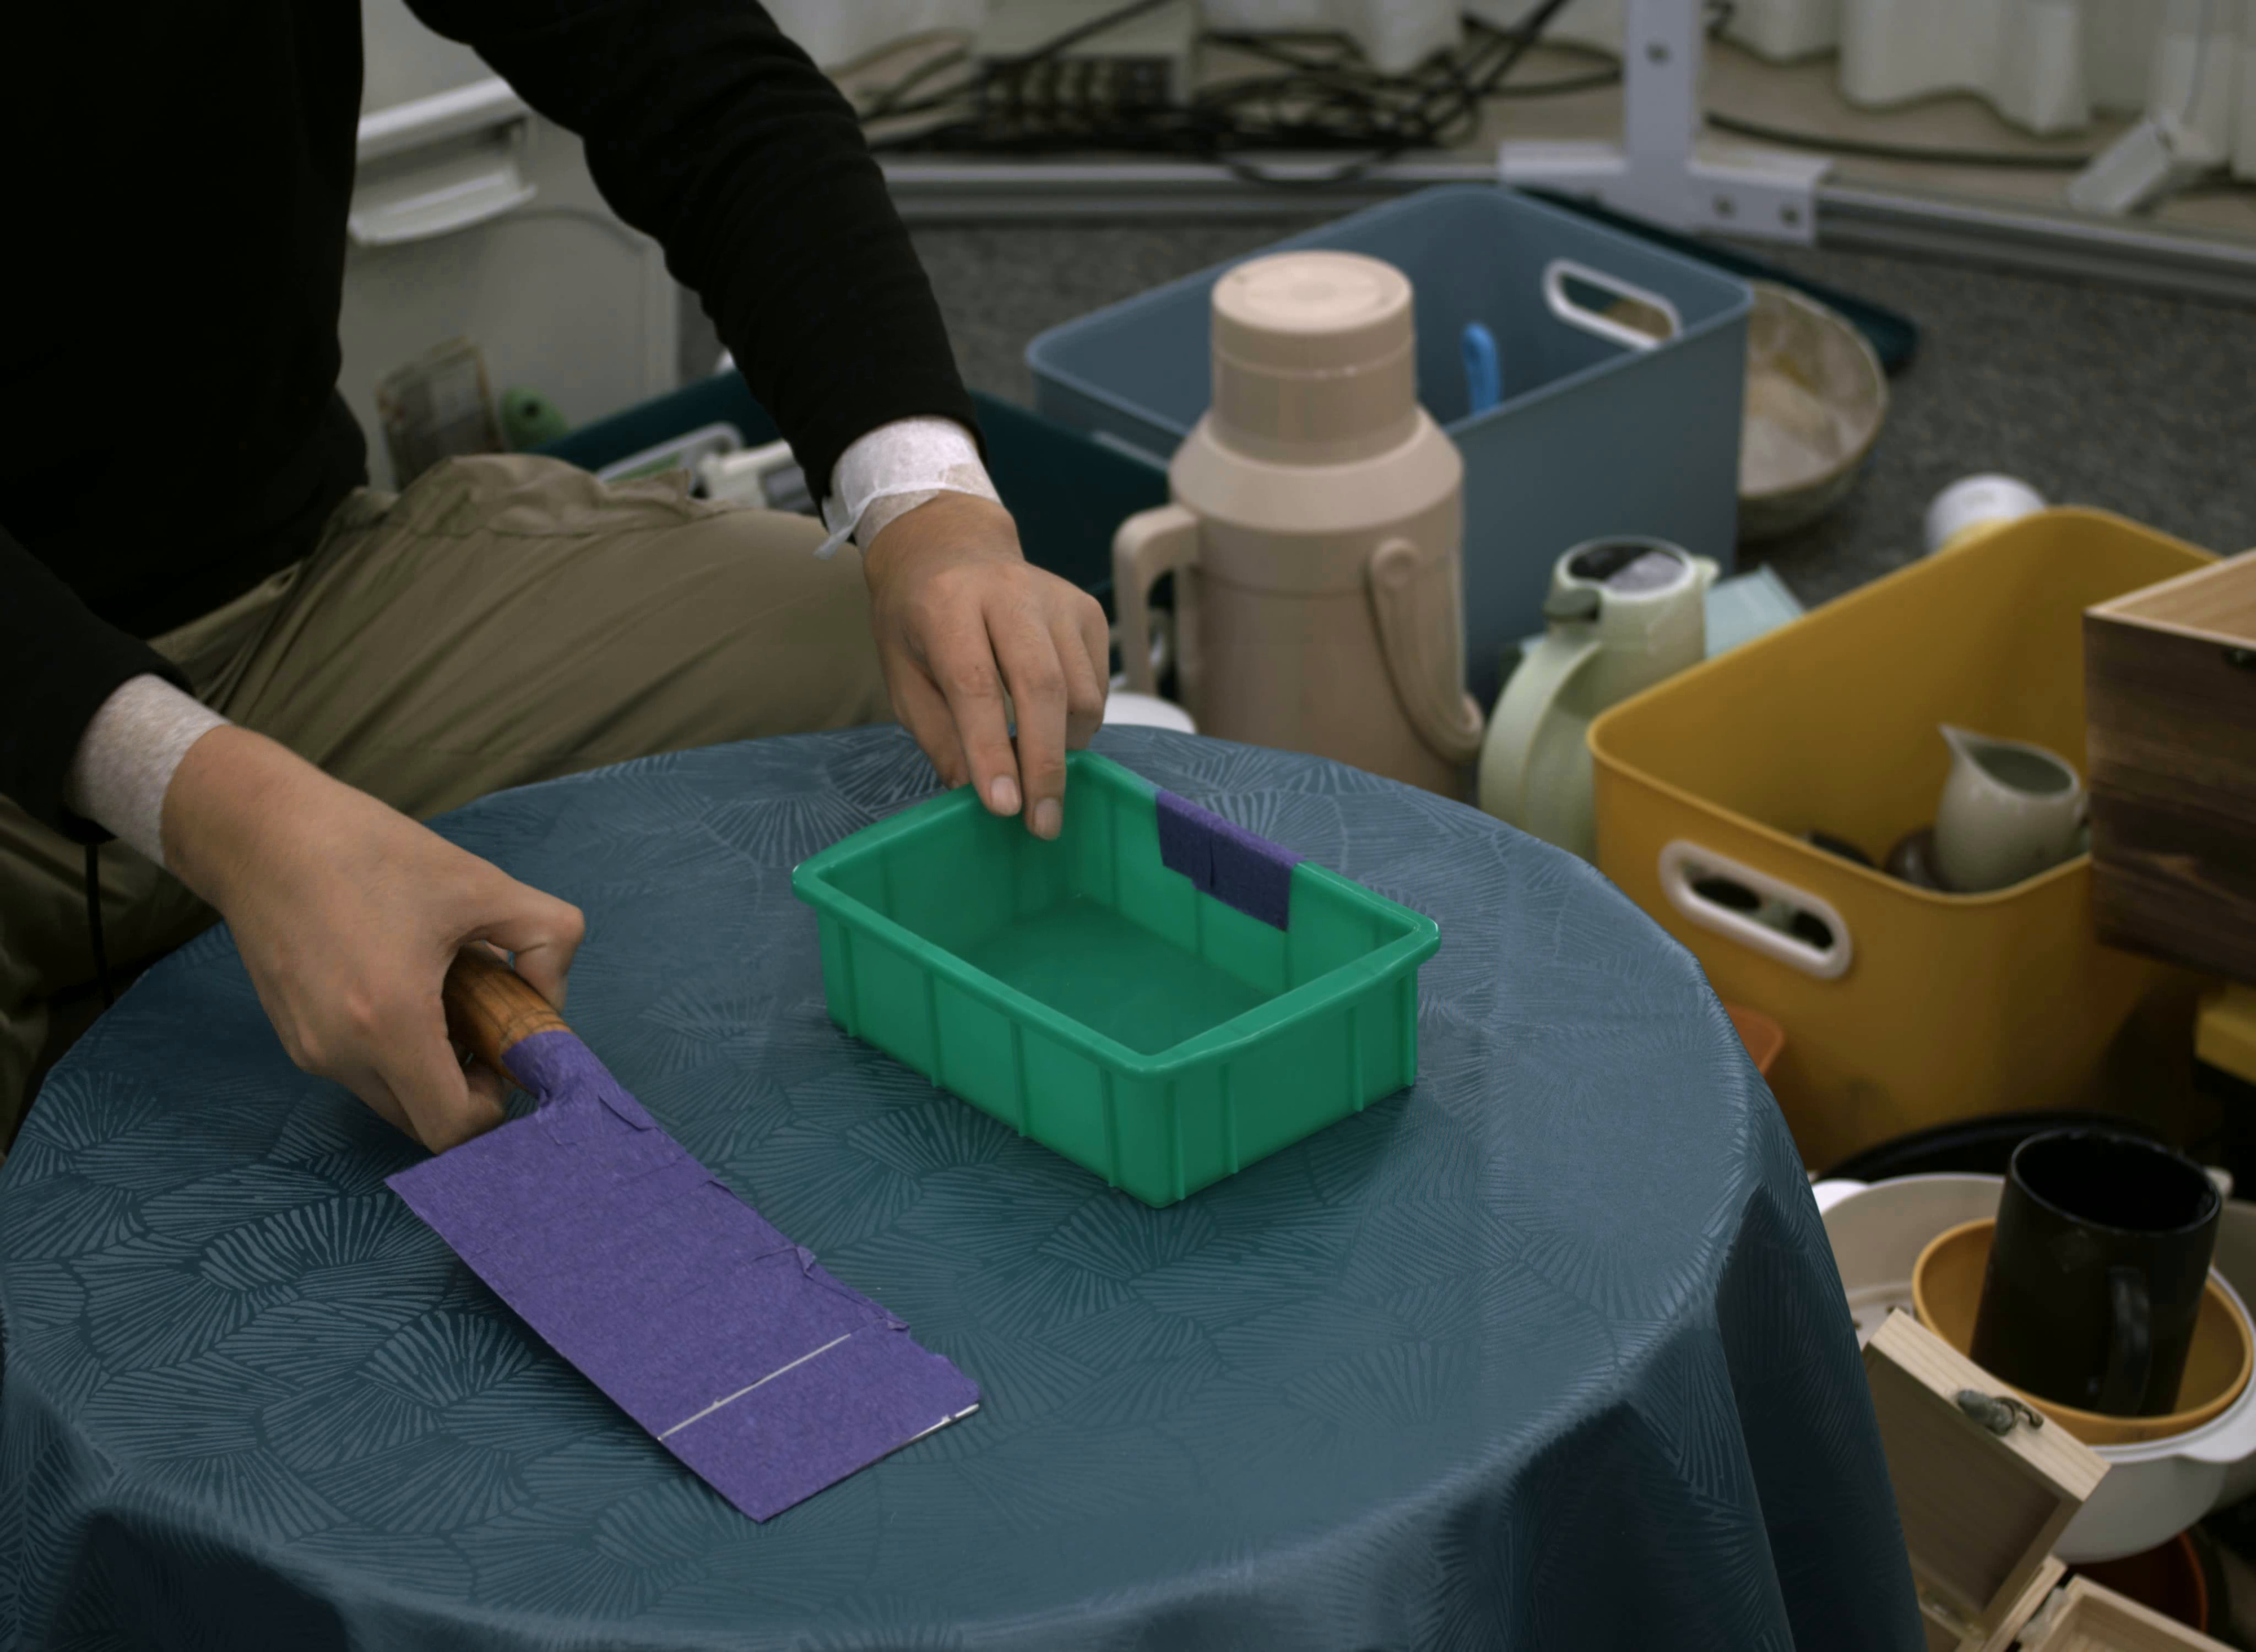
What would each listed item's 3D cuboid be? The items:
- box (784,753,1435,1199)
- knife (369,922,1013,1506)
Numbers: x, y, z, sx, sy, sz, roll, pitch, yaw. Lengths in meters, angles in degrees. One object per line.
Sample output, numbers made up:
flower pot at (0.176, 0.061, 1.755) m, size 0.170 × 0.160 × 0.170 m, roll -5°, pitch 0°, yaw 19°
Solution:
box at (-0.007, 0.051, 1.931) m, size 0.140 × 0.064 × 0.210 m, roll -23°, pitch 31°, yaw -36°
knife at (-0.173, 0.122, 1.818) m, size 0.105 × 0.032 × 0.316 m, roll -23°, pitch 39°, yaw -34°
